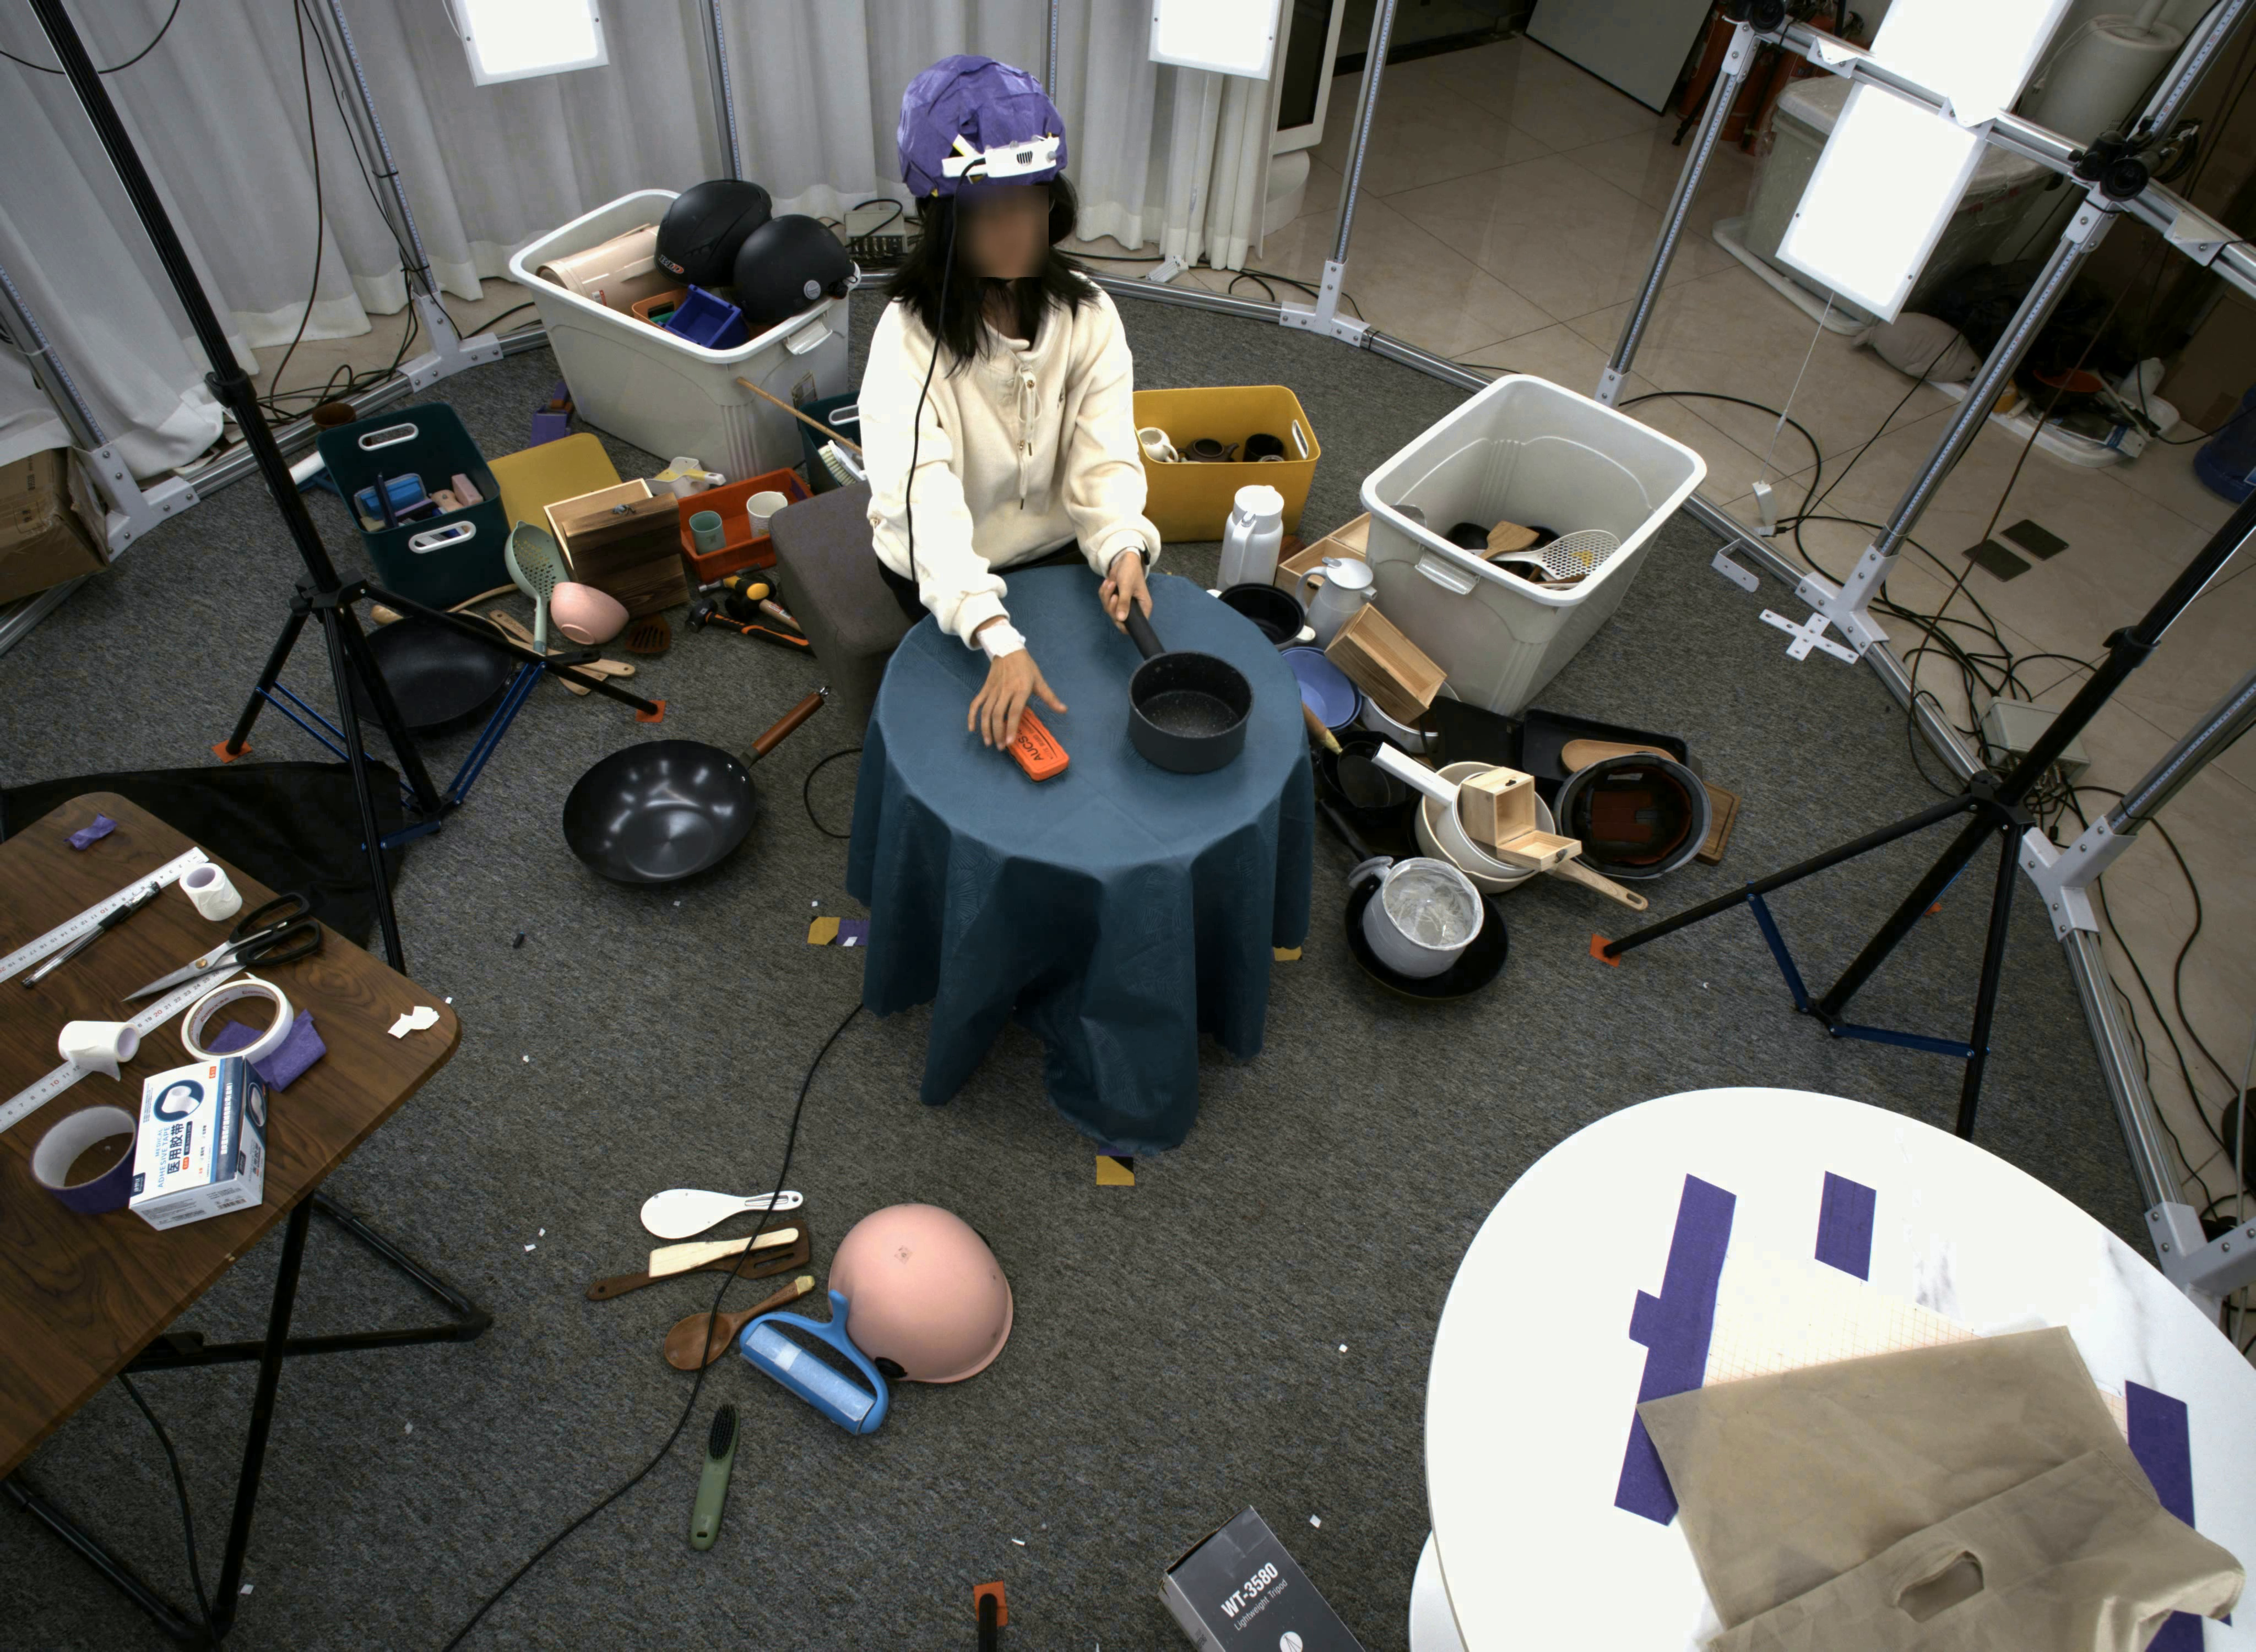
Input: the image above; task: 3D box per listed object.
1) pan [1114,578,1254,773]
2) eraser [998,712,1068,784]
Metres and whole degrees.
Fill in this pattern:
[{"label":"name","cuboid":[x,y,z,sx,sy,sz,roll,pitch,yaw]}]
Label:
[{"label":"pan","cuboid":[0.052,-0.215,1.806,0.172,0.084,0.336,-15,52,-17]},{"label":"eraser","cuboid":[-0.129,-0.107,1.739,0.059,0.022,0.110,-24,55,-21]}]
